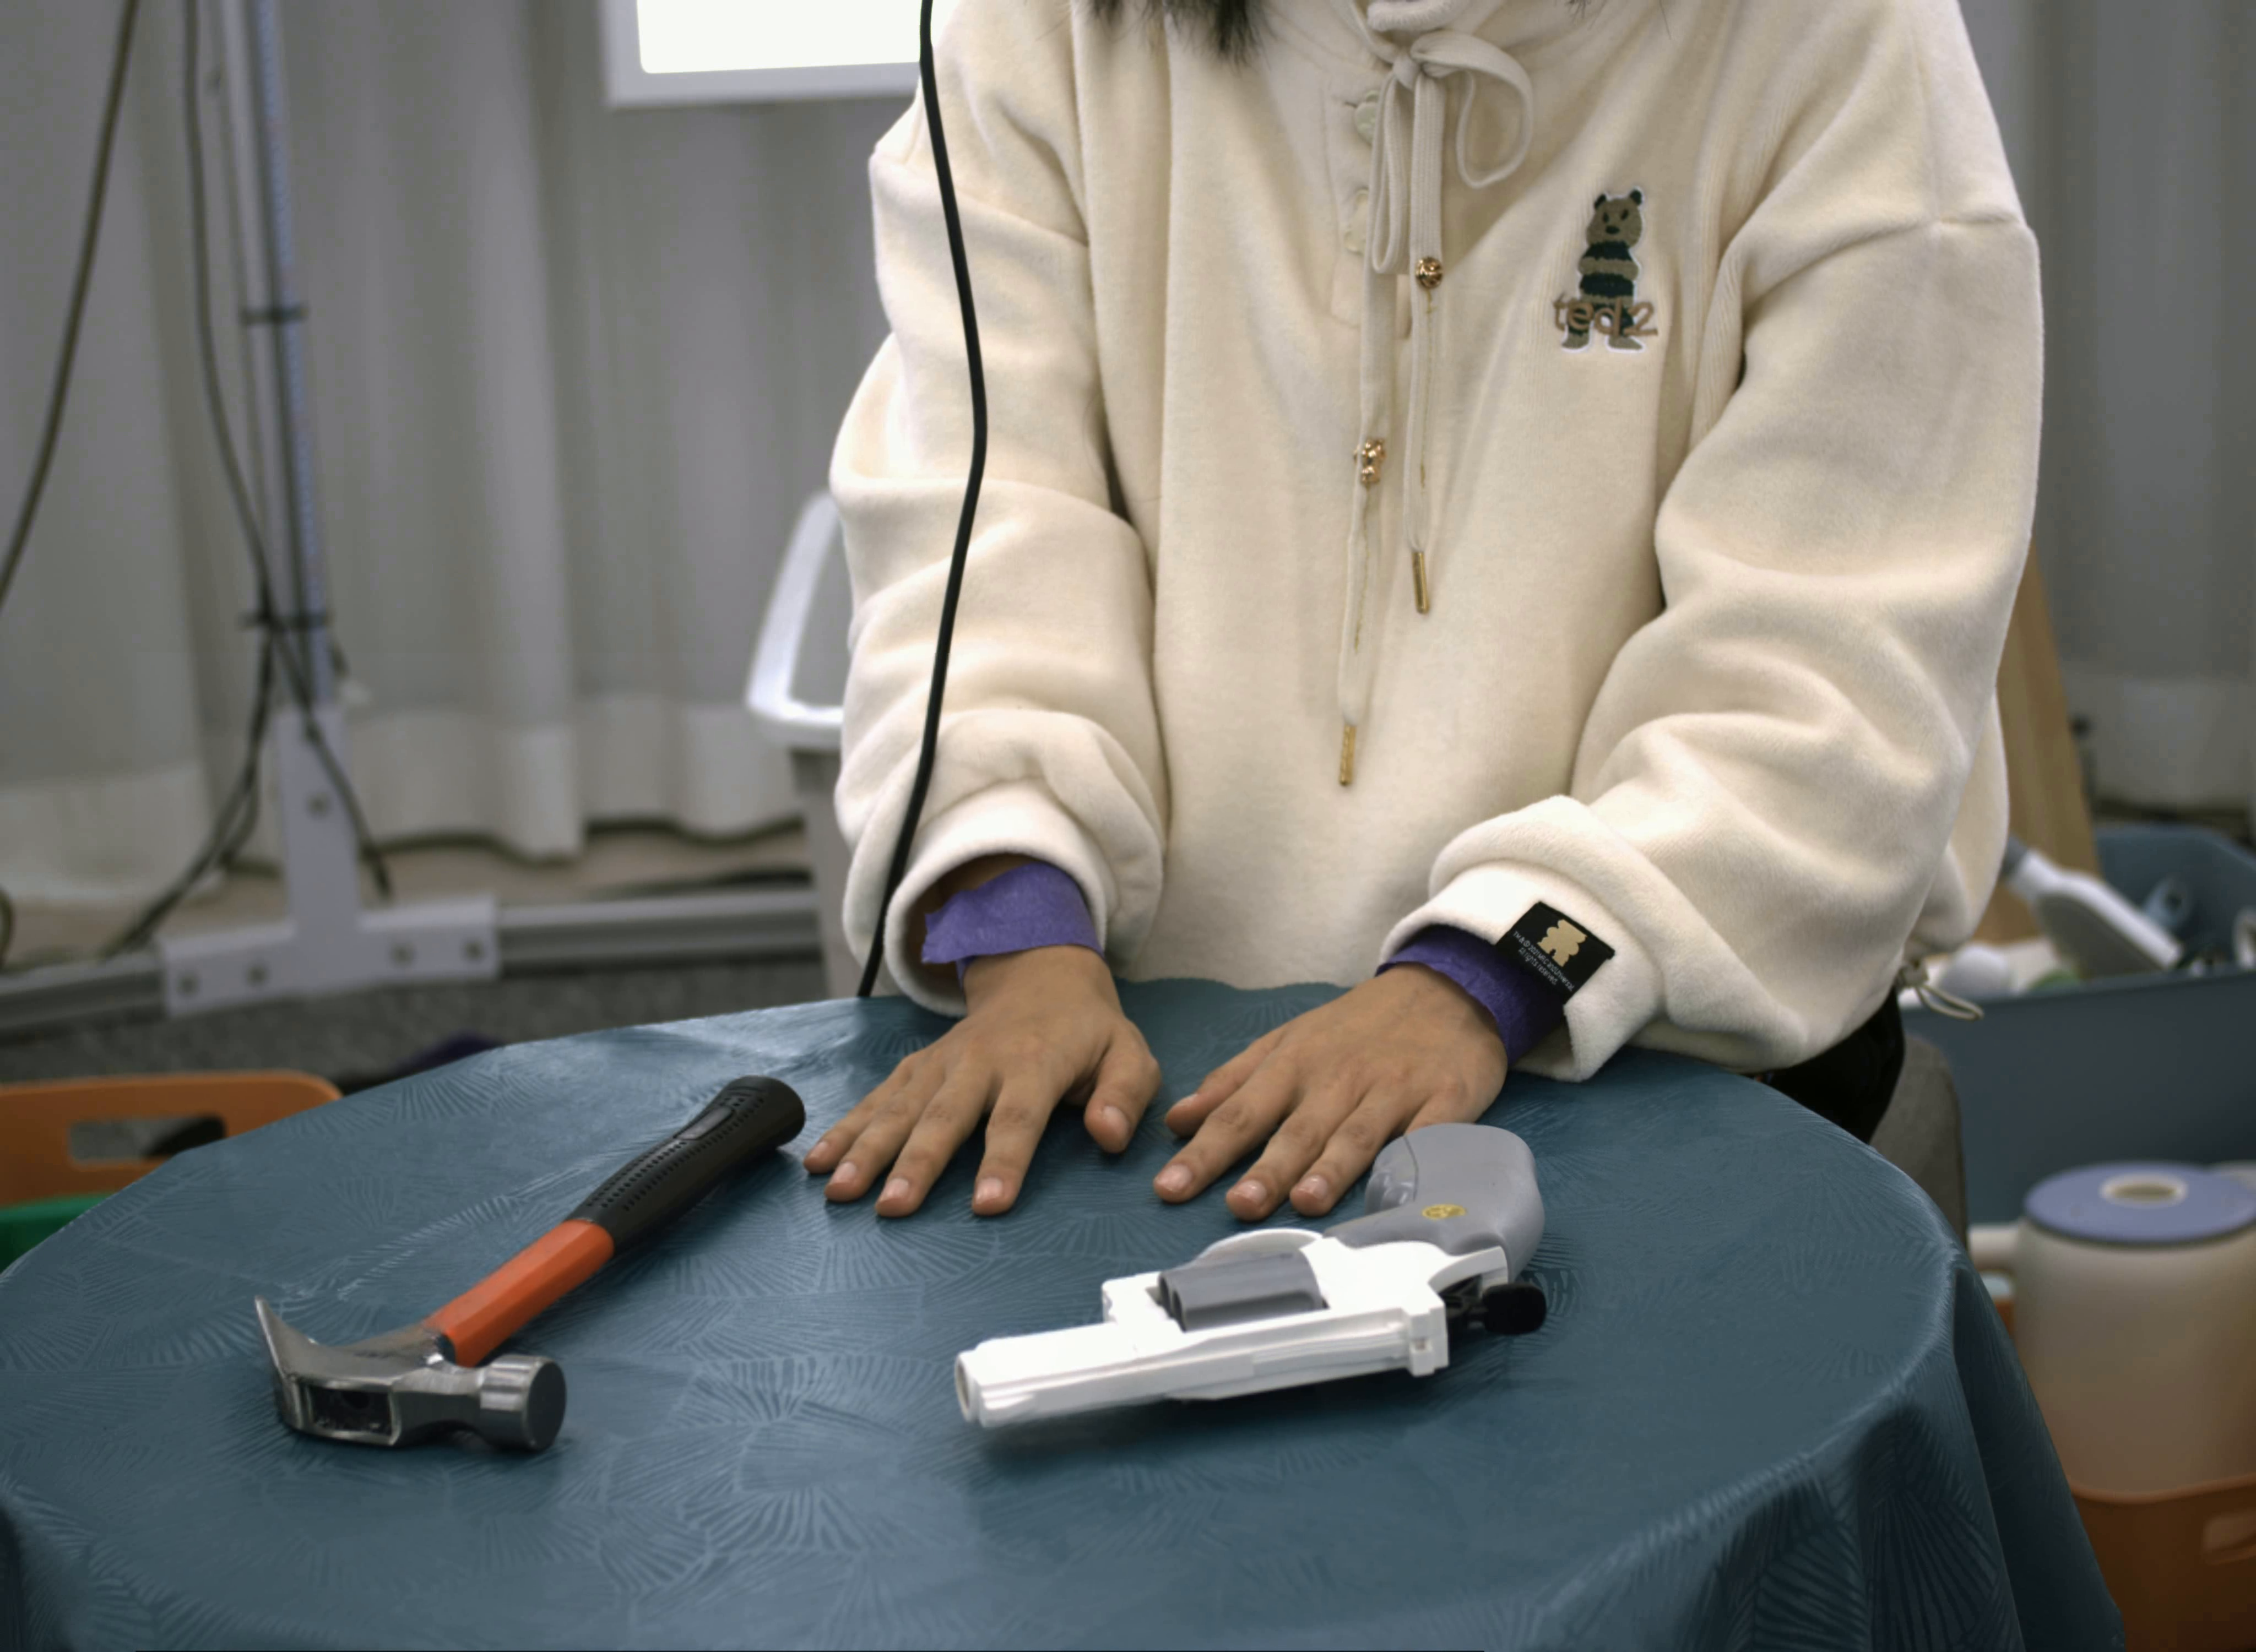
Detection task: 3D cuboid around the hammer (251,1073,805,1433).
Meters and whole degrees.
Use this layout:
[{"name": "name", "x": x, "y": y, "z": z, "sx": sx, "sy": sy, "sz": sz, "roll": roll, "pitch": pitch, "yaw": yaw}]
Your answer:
[{"name": "hammer", "x": -0.169, "y": 0.126, "z": 1.651, "sx": 0.110, "sy": 0.026, "sz": 0.278, "roll": -6, "pitch": 12, "yaw": 23}]

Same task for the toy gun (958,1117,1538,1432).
[{"name": "toy gun", "x": 0.039, "y": 0.130, "z": 1.571, "sx": 0.208, "sy": 0.038, "sz": 0.143, "roll": -8, "pitch": 17, "yaw": -16}]
